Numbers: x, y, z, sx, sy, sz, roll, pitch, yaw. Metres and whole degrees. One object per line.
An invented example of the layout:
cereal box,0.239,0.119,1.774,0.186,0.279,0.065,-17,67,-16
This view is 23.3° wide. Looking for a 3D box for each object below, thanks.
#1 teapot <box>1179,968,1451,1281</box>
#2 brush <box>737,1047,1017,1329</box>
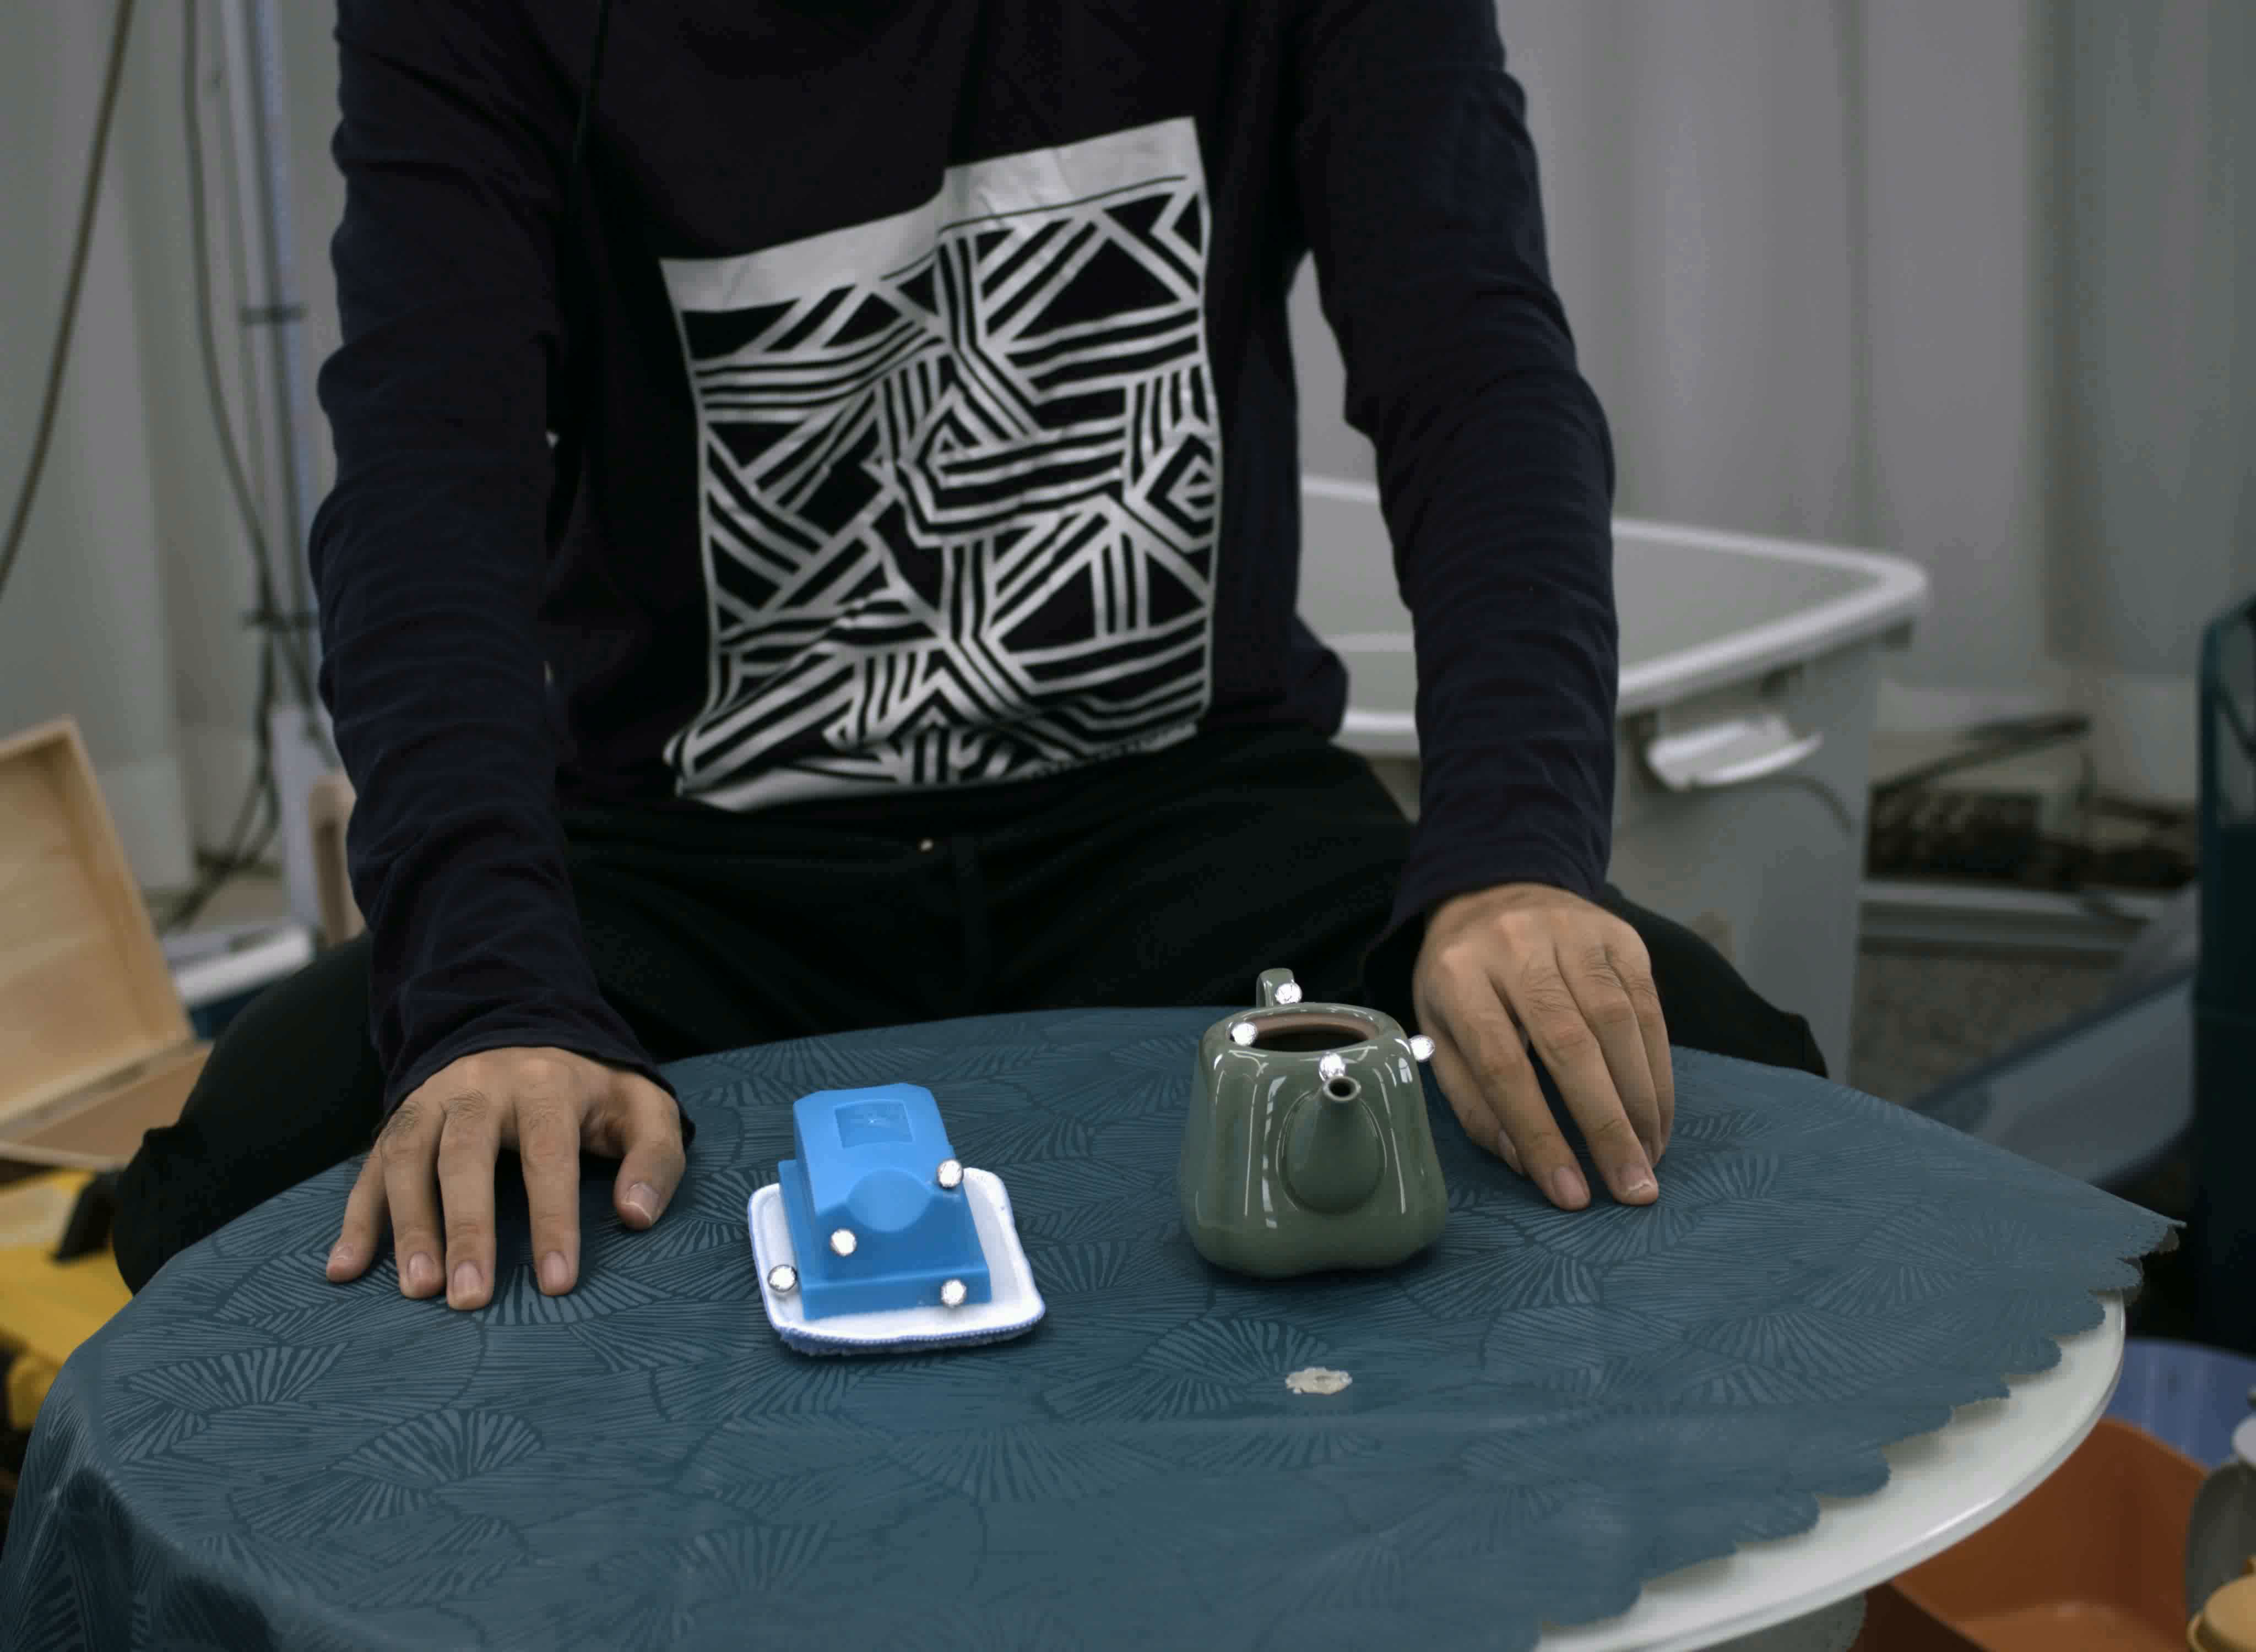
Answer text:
teapot,0.055,0.092,1.647,0.079,0.075,0.133,-5,14,-7
brush,-0.075,0.106,1.645,0.083,0.055,0.145,-1,17,-5
